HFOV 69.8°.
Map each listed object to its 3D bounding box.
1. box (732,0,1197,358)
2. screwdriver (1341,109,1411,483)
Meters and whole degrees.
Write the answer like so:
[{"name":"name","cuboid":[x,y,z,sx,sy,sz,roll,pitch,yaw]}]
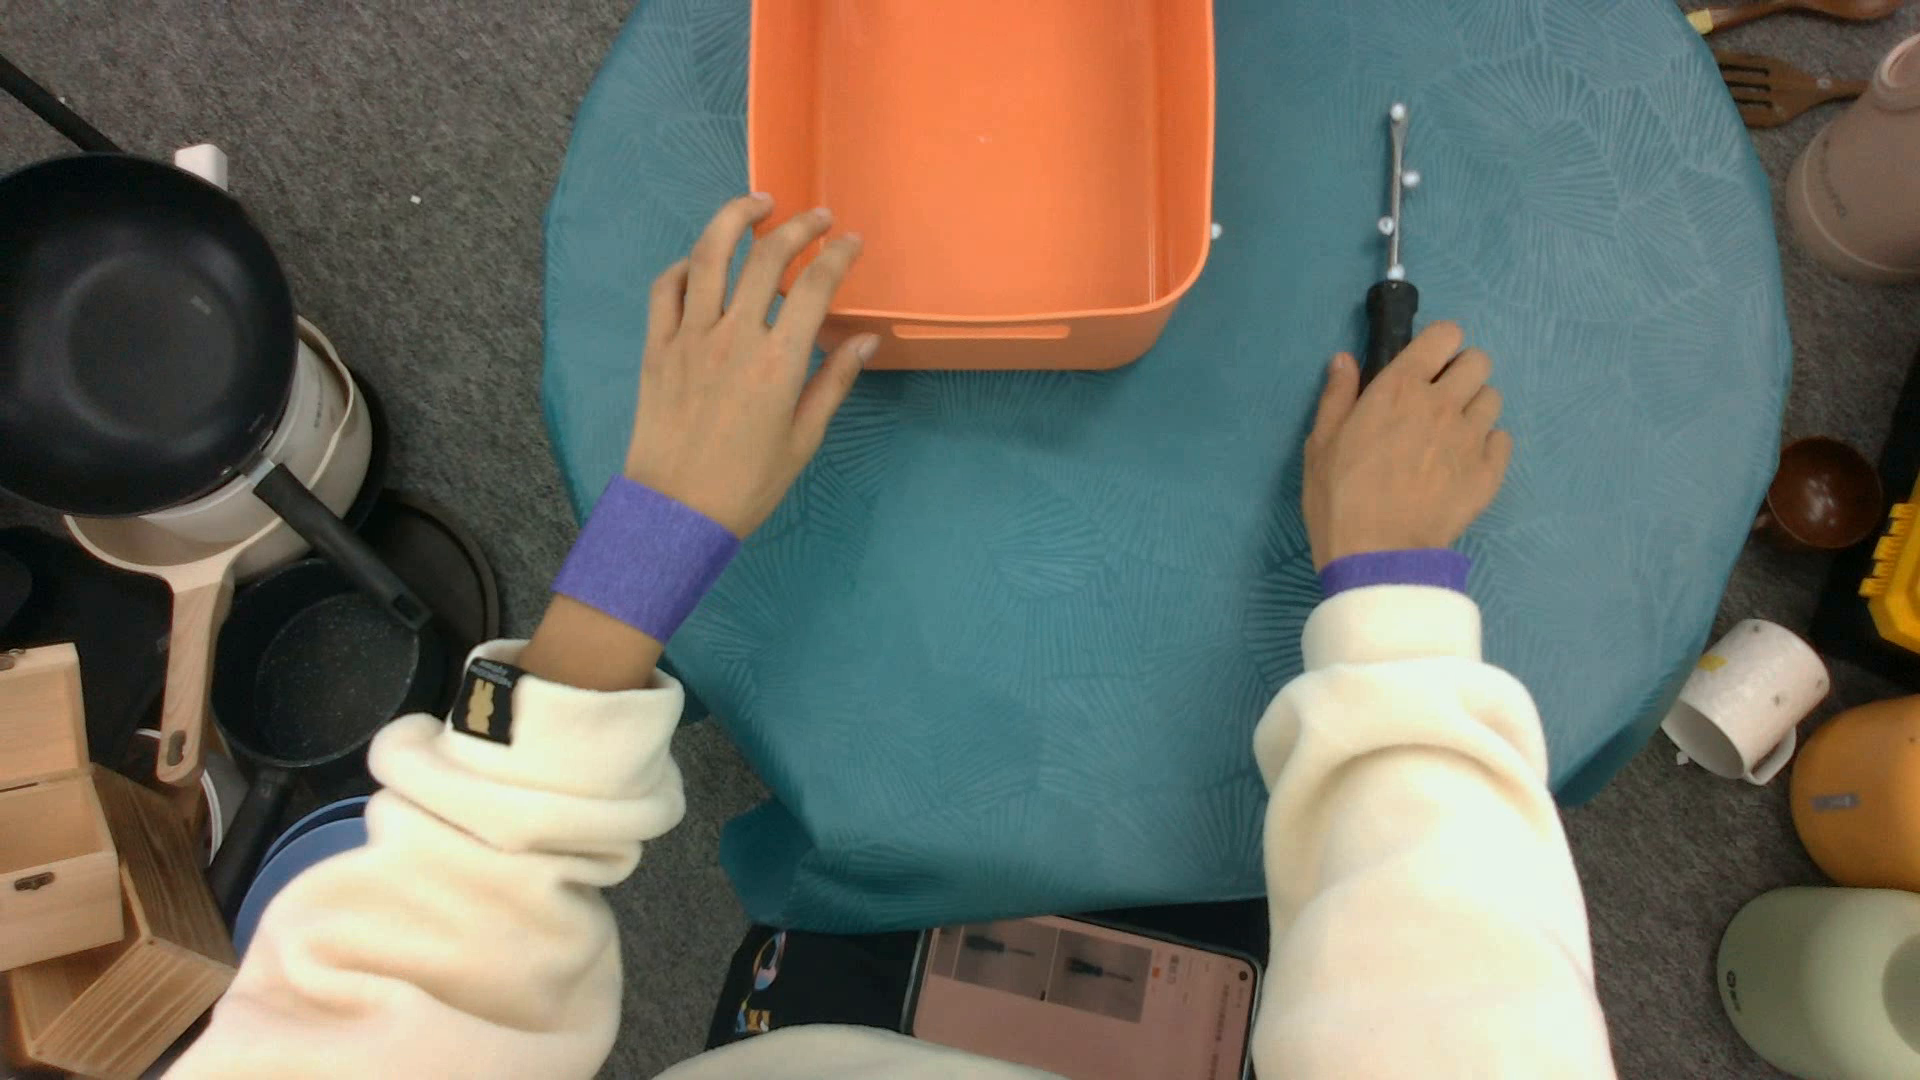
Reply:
[{"name":"box","cuboid":[0.002,-0.216,0.640,0.199,0.102,0.274,0,76,0]},{"name":"screwdriver","cuboid":[0.188,-0.118,0.641,0.031,0.031,0.198,1,67,2]}]
